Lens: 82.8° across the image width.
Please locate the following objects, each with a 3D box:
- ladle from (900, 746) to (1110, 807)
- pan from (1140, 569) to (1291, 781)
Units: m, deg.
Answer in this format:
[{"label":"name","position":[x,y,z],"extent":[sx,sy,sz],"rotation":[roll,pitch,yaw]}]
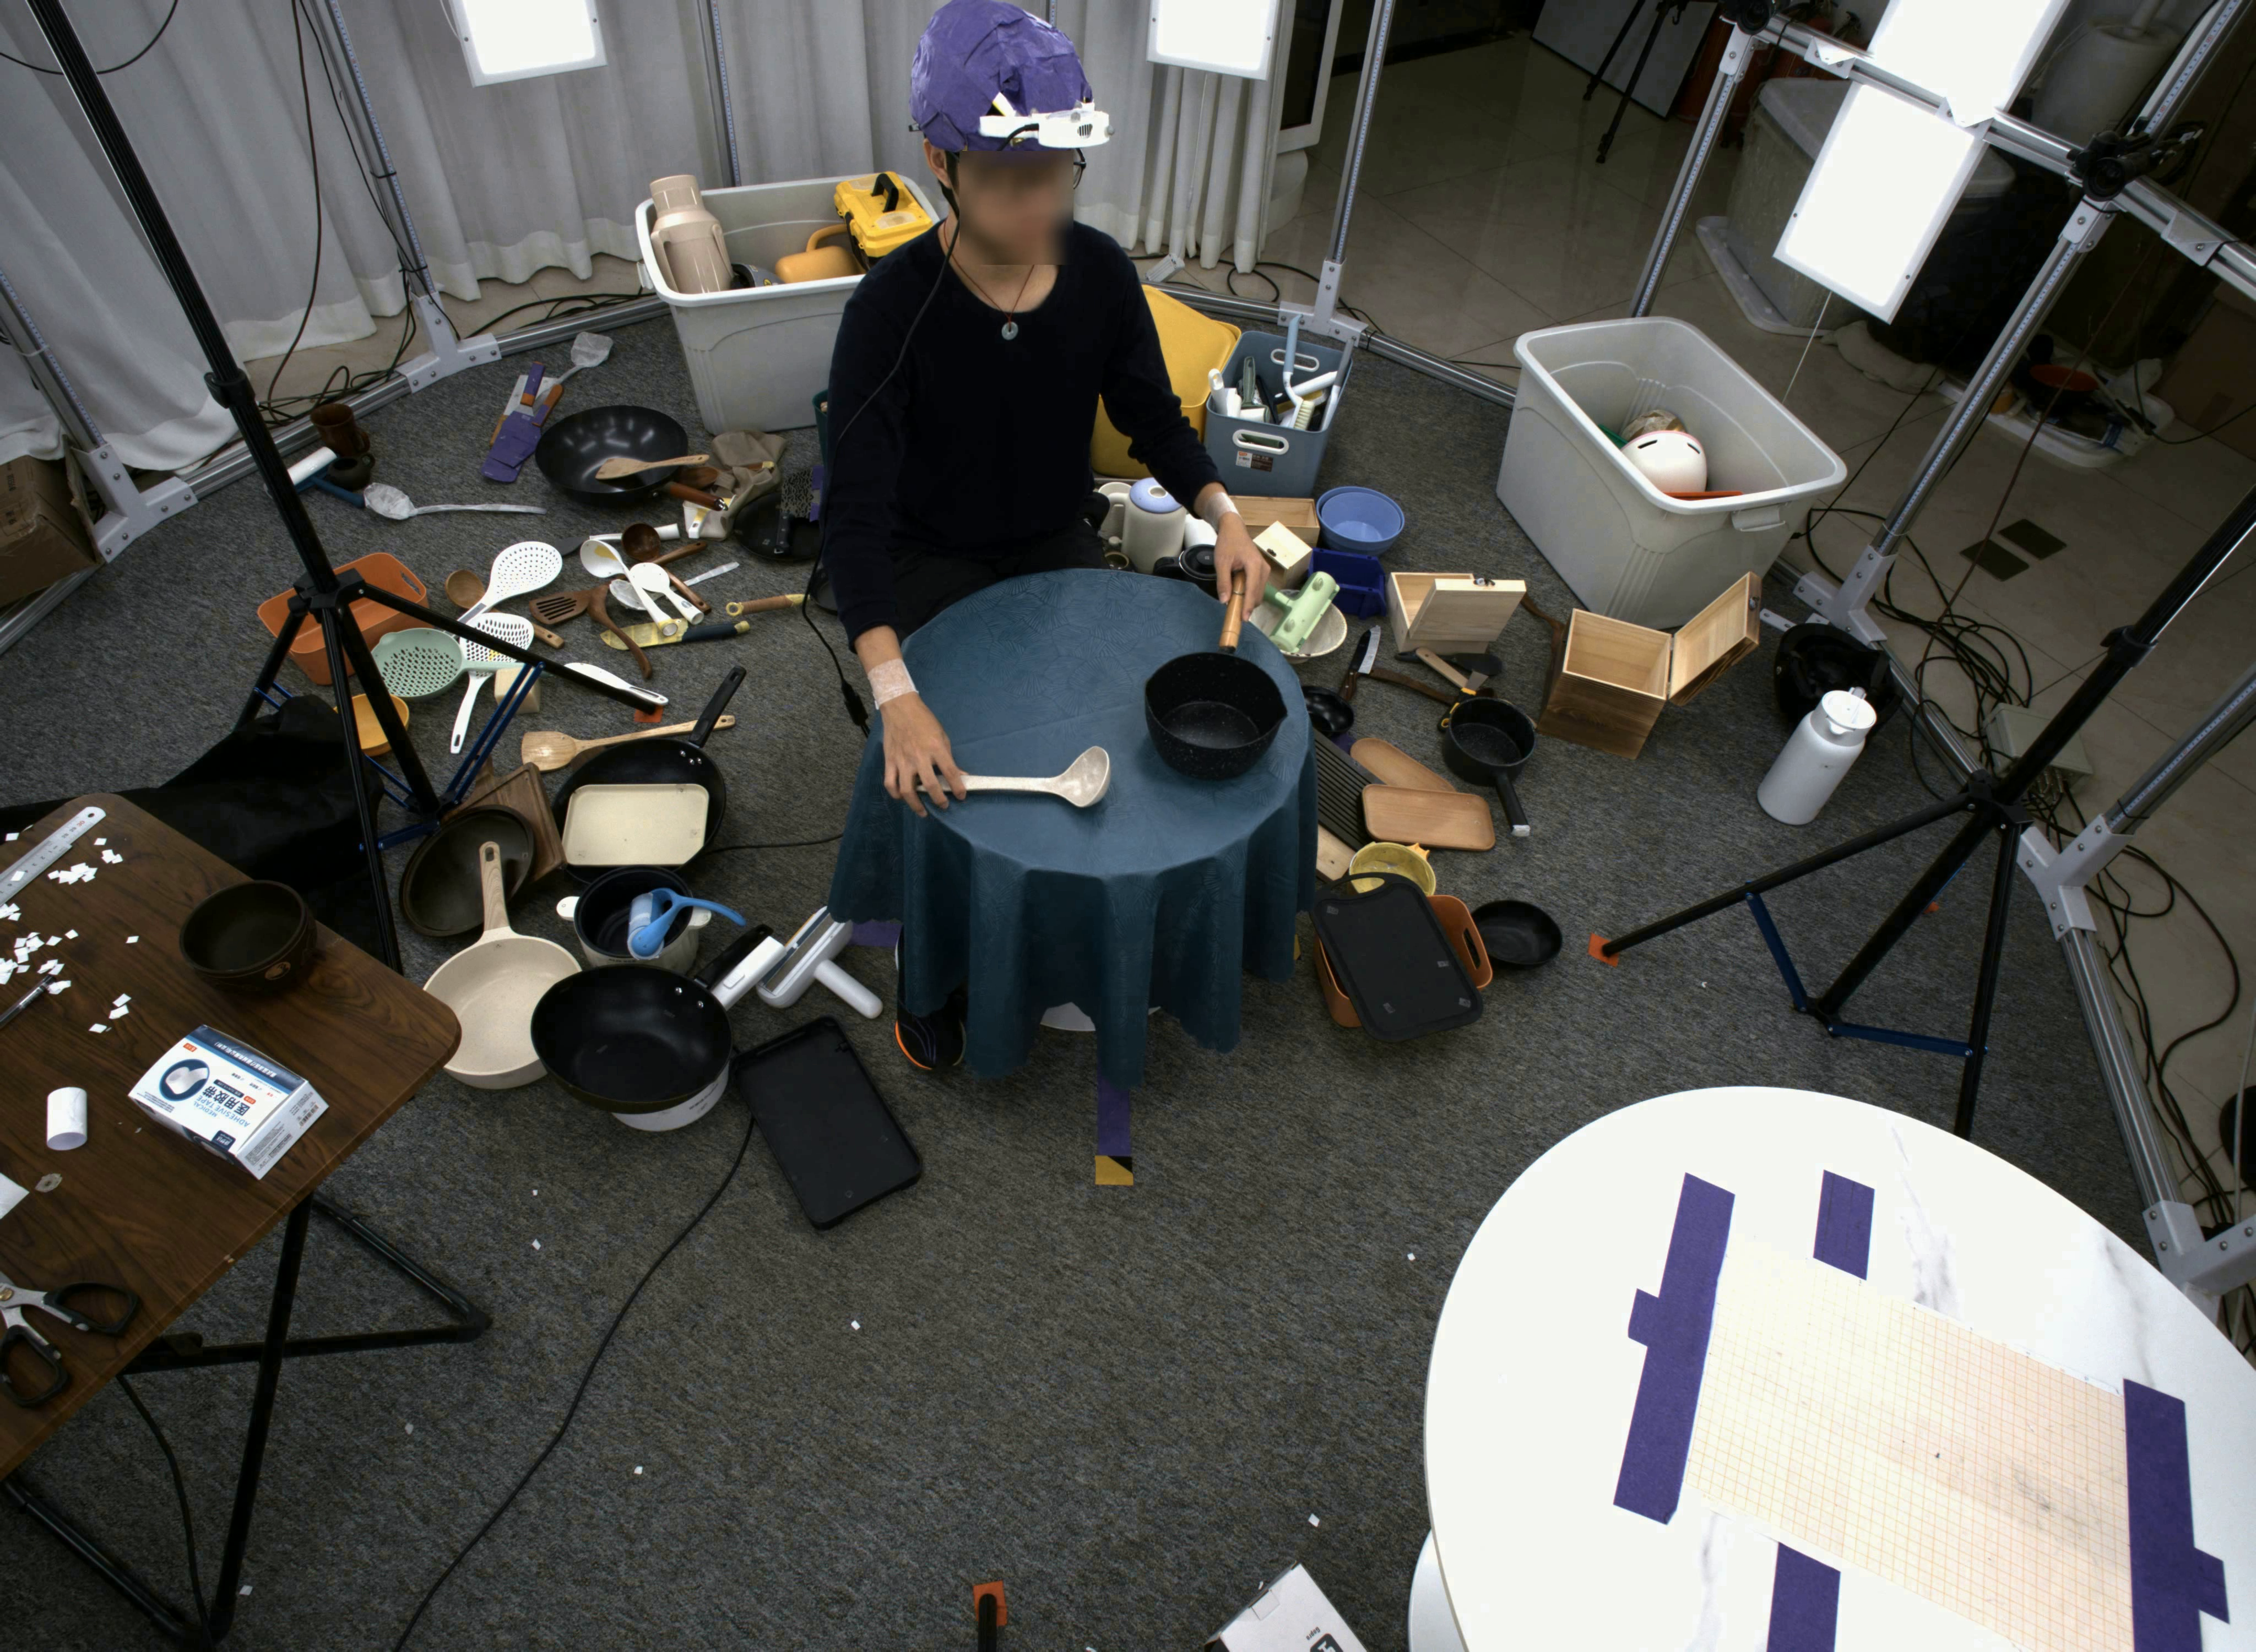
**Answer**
[{"label":"ladle","position":[-0.161,-0.067,1.673],"extent":[0.274,0.068,0.091],"rotation":[1,55,-2]},{"label":"pan","position":[0.129,-0.212,1.792],"extent":[0.208,0.105,0.351],"rotation":[9,51,5]}]
